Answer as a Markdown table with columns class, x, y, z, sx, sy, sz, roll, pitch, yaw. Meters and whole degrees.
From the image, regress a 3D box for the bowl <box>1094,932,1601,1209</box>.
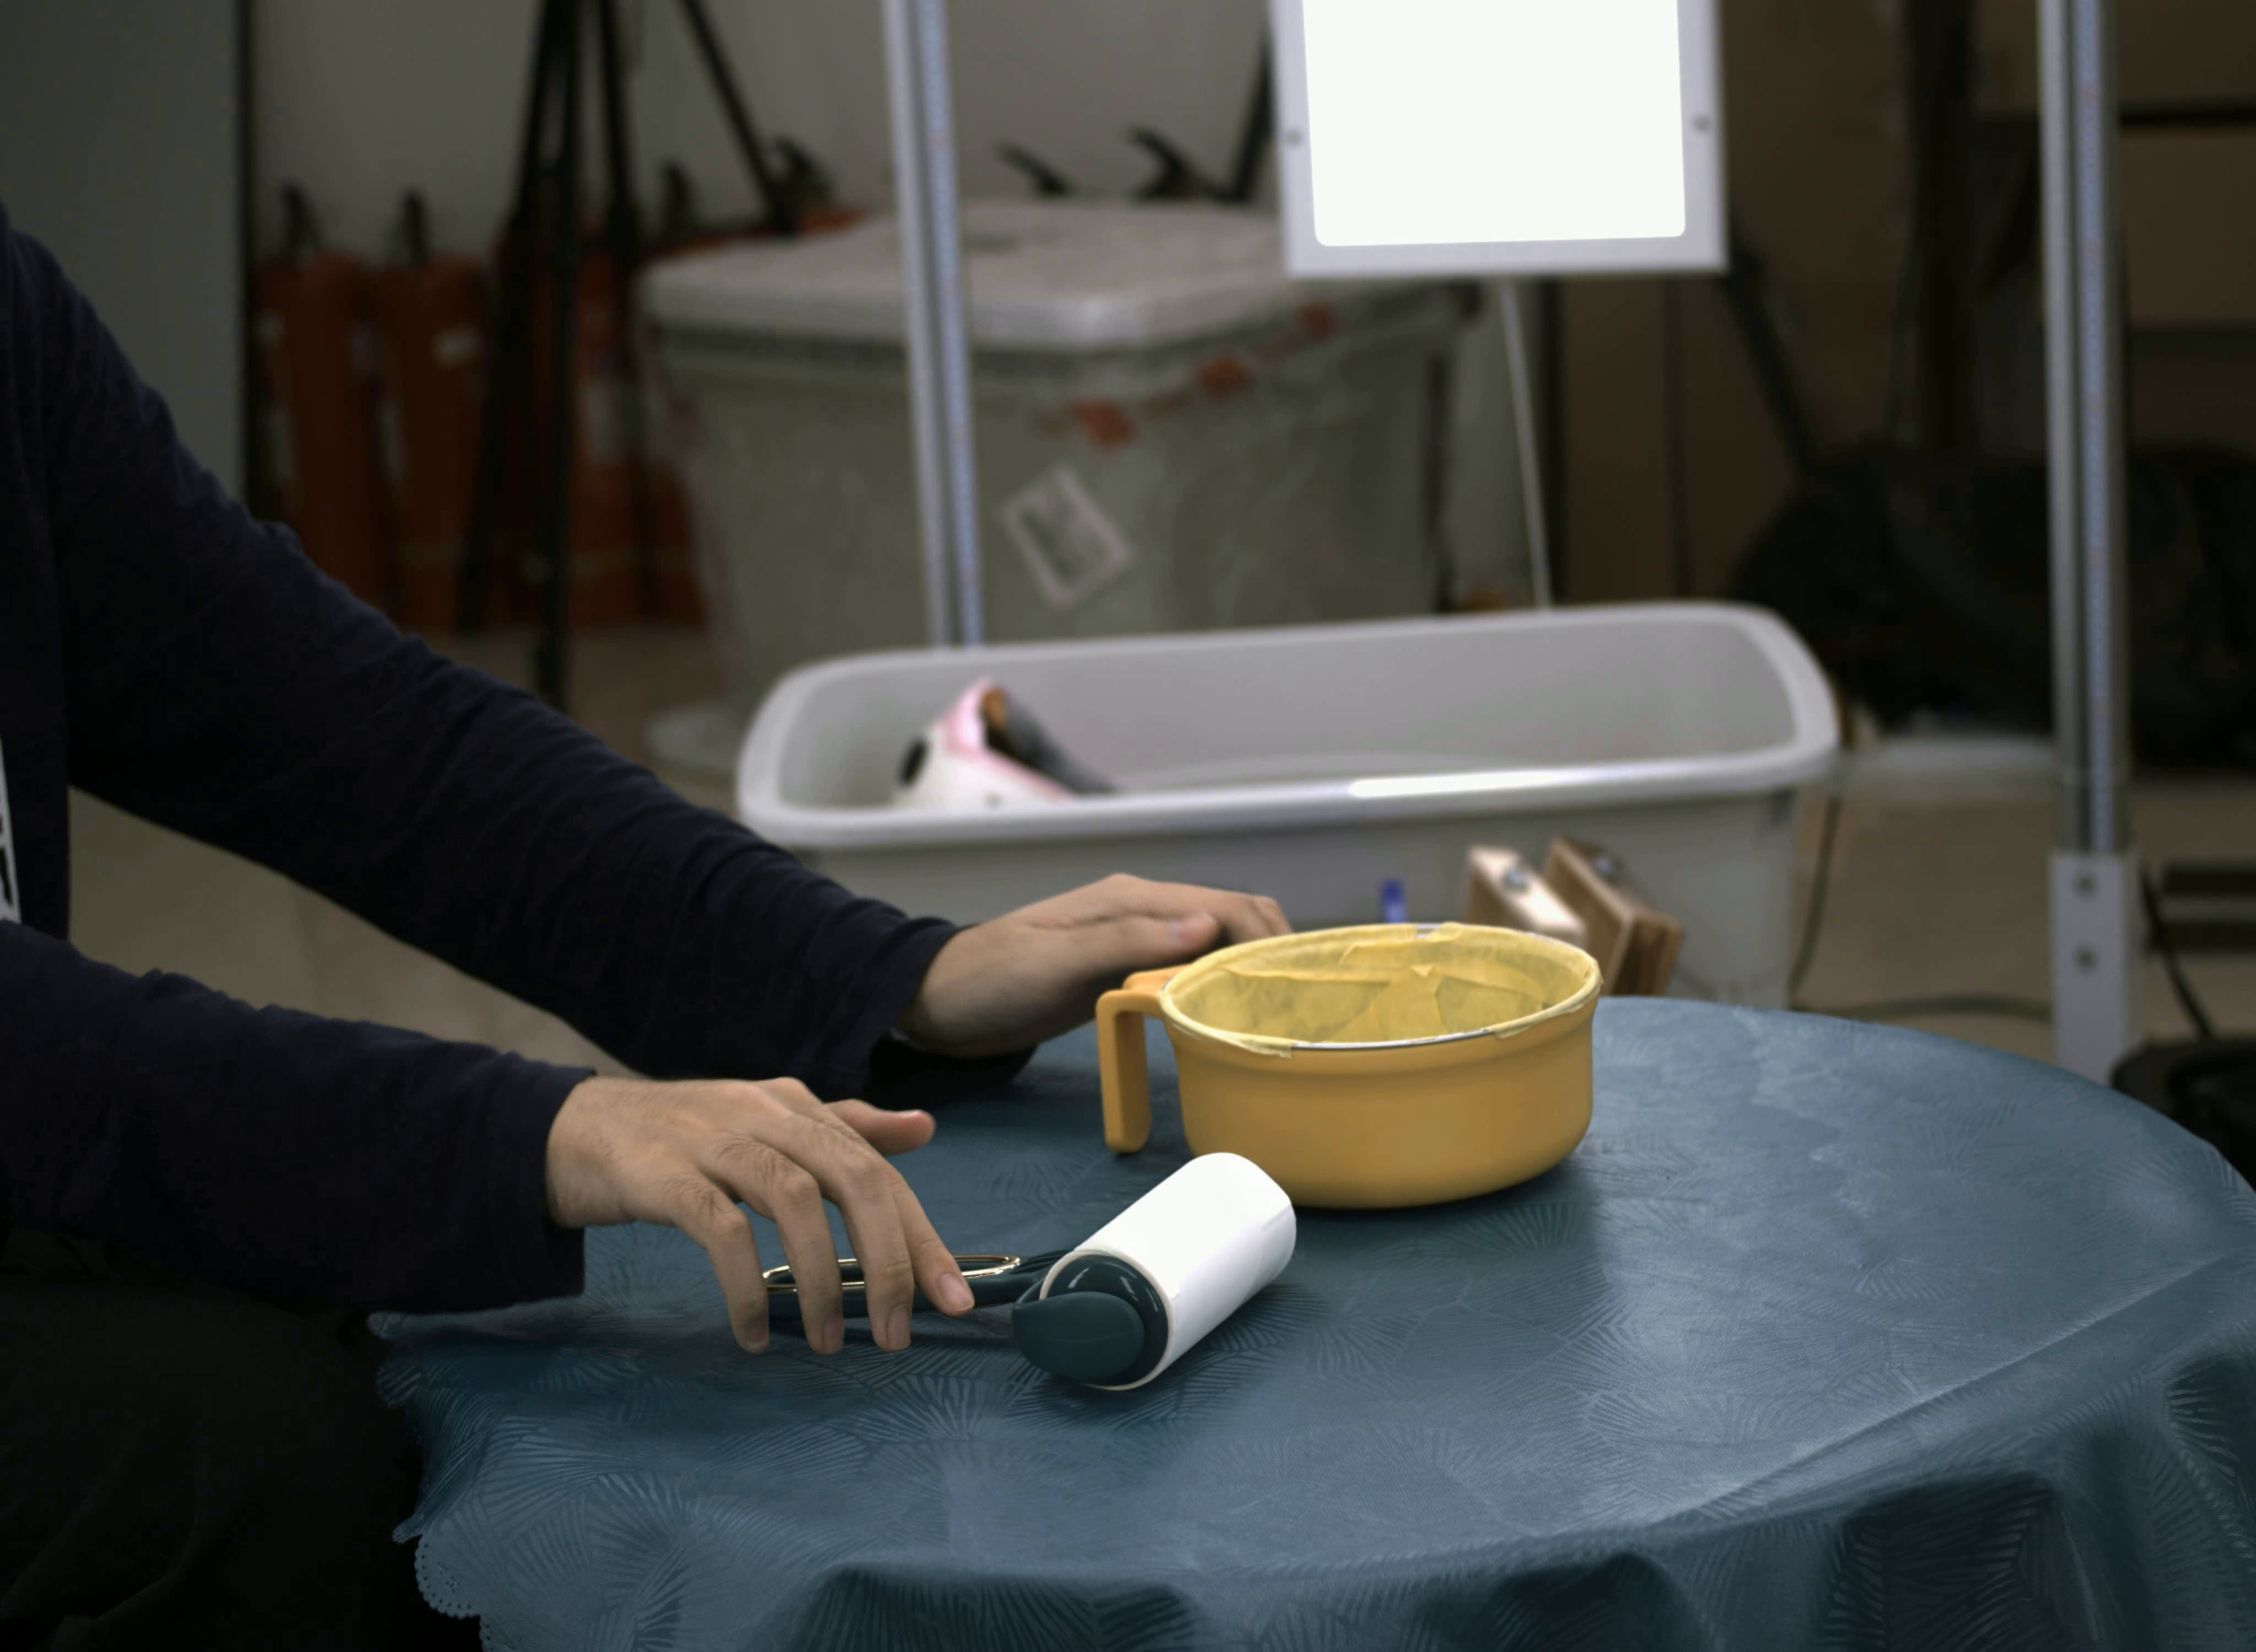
| class | x | y | z | sx | sy | sz | roll | pitch | yaw |
| --- | --- | --- | --- | --- | --- | --- | --- | --- | --- |
| bowl | 0.076 | 0.085 | 1.905 | 0.181 | 0.074 | 0.150 | 0 | 17 | 20 |

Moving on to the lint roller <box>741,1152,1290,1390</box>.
| class | x | y | z | sx | sy | sz | roll | pitch | yaw |
| --- | --- | --- | --- | --- | --- | --- | --- | --- | --- |
| lint roller | -0.047 | 0.143 | 1.773 | 0.183 | 0.048 | 0.131 | -3 | 14 | 27 |
